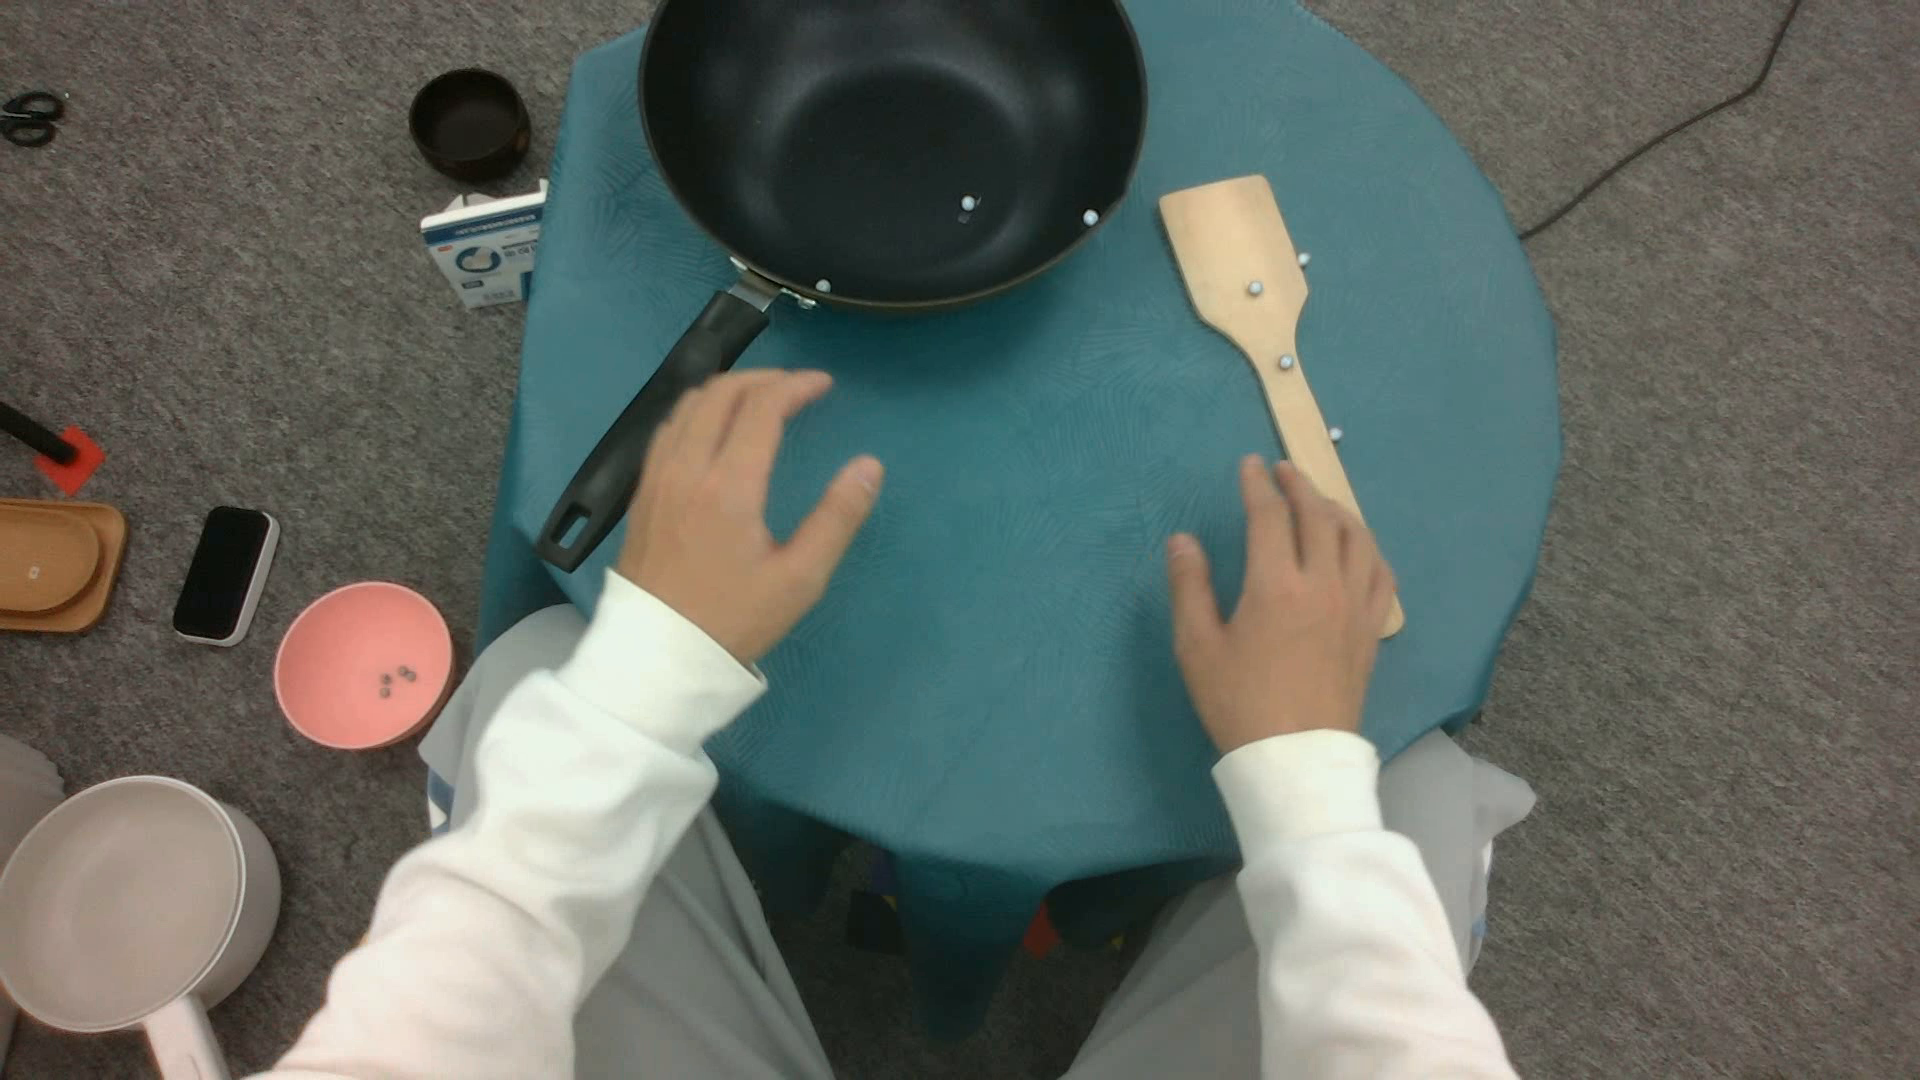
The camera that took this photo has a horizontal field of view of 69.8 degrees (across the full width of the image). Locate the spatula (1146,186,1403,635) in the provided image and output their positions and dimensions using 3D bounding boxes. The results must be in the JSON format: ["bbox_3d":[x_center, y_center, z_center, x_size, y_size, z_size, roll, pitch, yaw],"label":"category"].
[{"bbox_3d":[0.189,-0.080,0.800,0.072,0.010,0.293,-16,70,-8],"label":"spatula"}]

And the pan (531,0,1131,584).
[{"bbox_3d":[-0.087,-0.159,0.788,0.288,0.086,0.465,27,72,10],"label":"pan"}]
